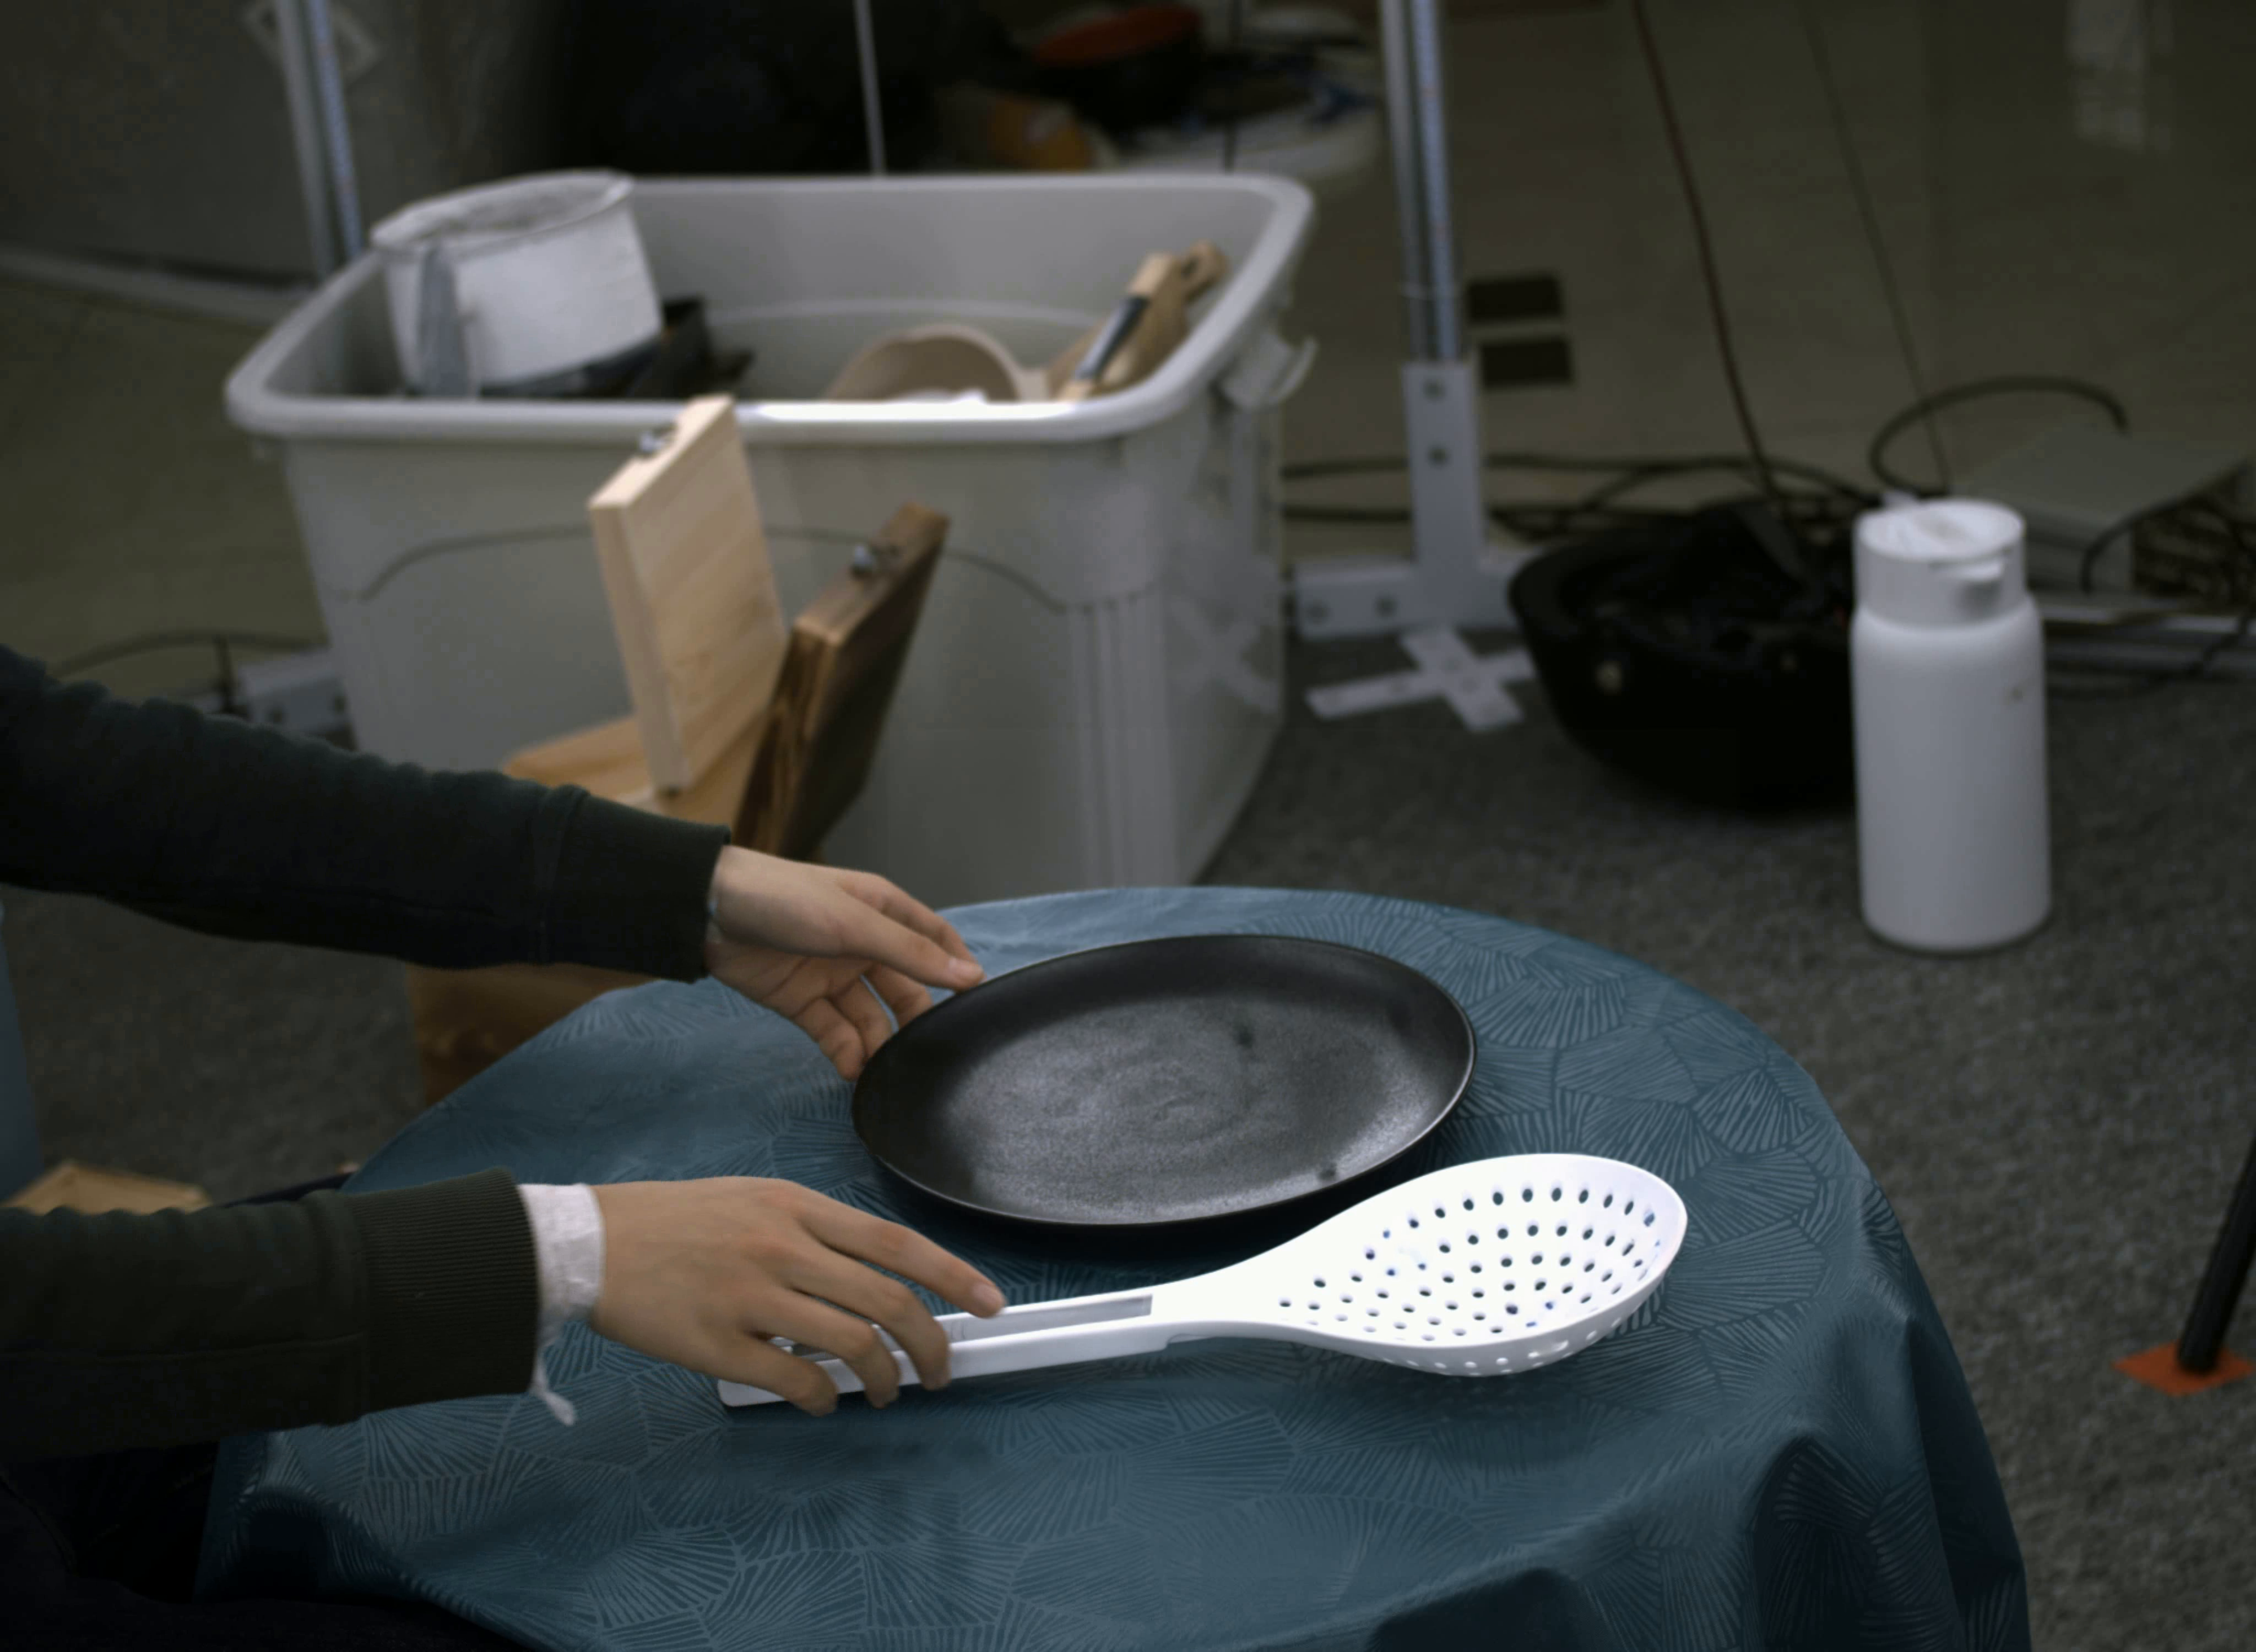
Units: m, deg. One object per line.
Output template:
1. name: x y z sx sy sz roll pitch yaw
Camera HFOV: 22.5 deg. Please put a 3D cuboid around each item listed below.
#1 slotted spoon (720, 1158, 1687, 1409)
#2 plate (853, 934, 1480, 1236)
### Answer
1. slotted spoon: 0.025 0.173 2.020 0.349 0.046 0.134 -5 23 6
2. plate: 0.016 0.105 2.195 0.244 0.024 0.241 -5 25 3
